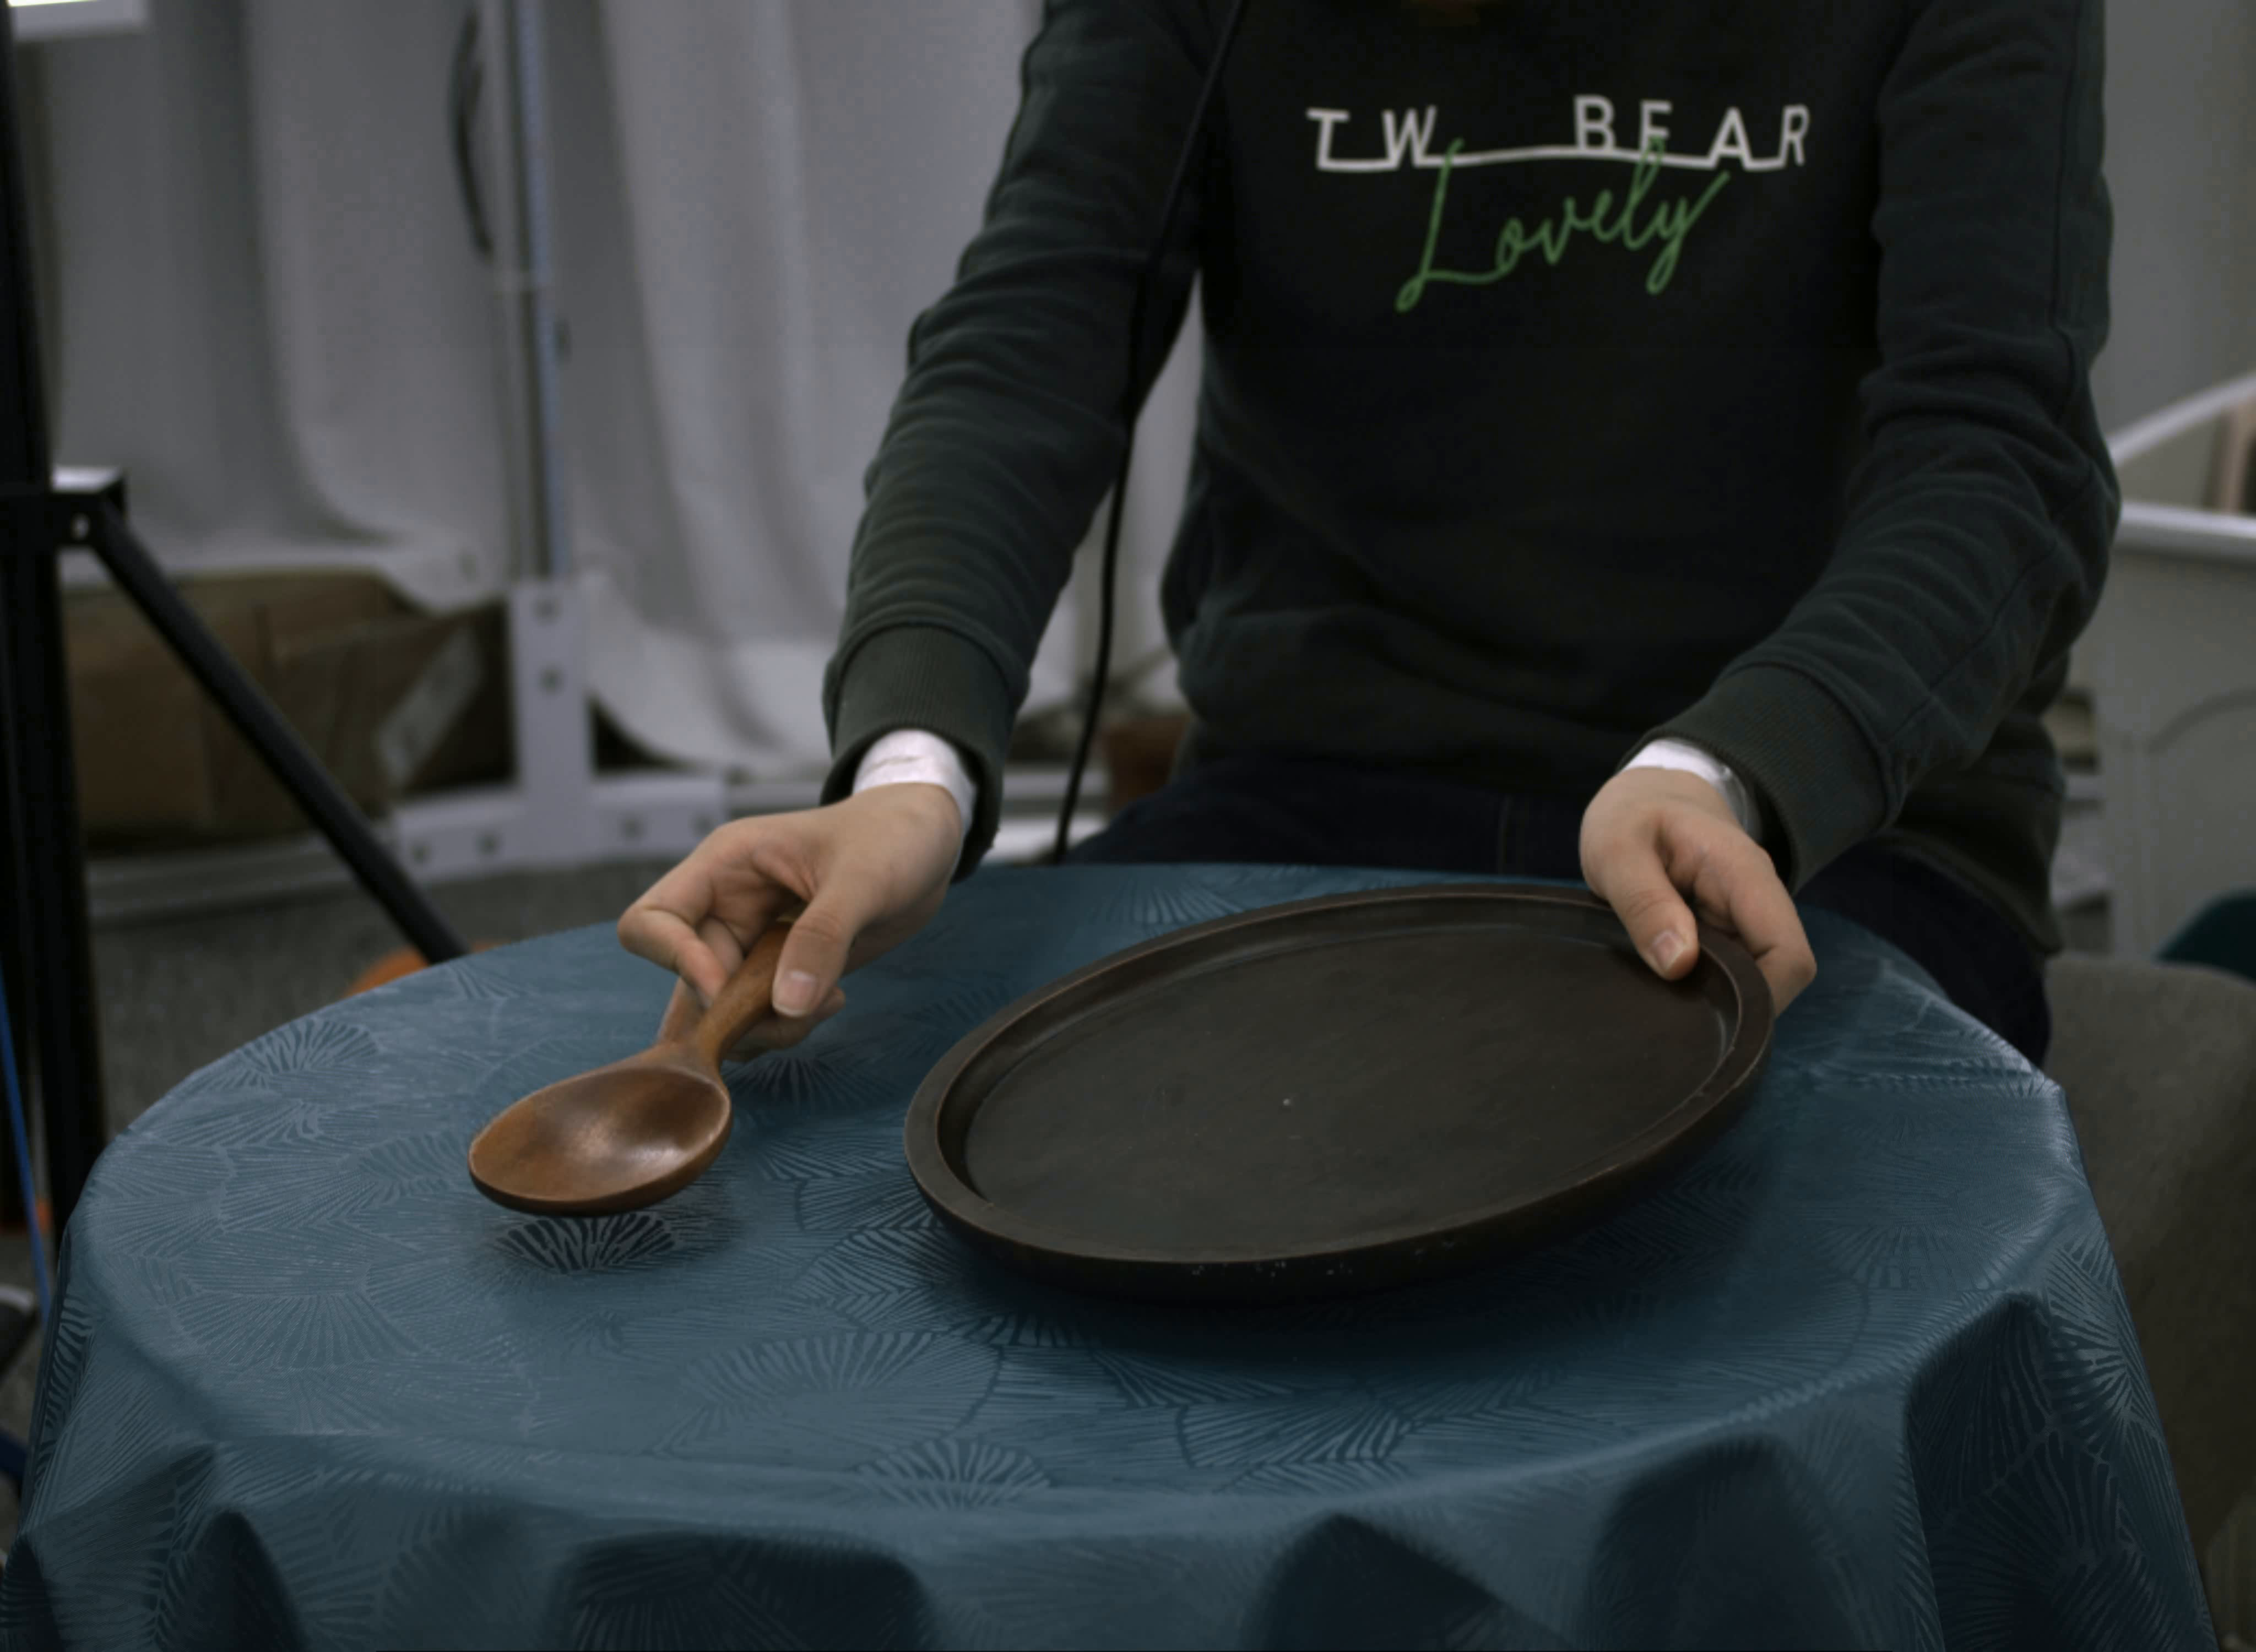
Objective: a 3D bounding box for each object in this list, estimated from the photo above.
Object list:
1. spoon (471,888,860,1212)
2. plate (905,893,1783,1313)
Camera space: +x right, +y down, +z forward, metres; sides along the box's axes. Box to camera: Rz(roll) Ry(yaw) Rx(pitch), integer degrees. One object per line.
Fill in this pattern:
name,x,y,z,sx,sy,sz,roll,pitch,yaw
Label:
spoon,-0.129,0.068,1.605,0.076,0.017,0.214,2,24,21
plate,0.062,0.076,1.517,0.254,0.029,0.256,-10,22,2
